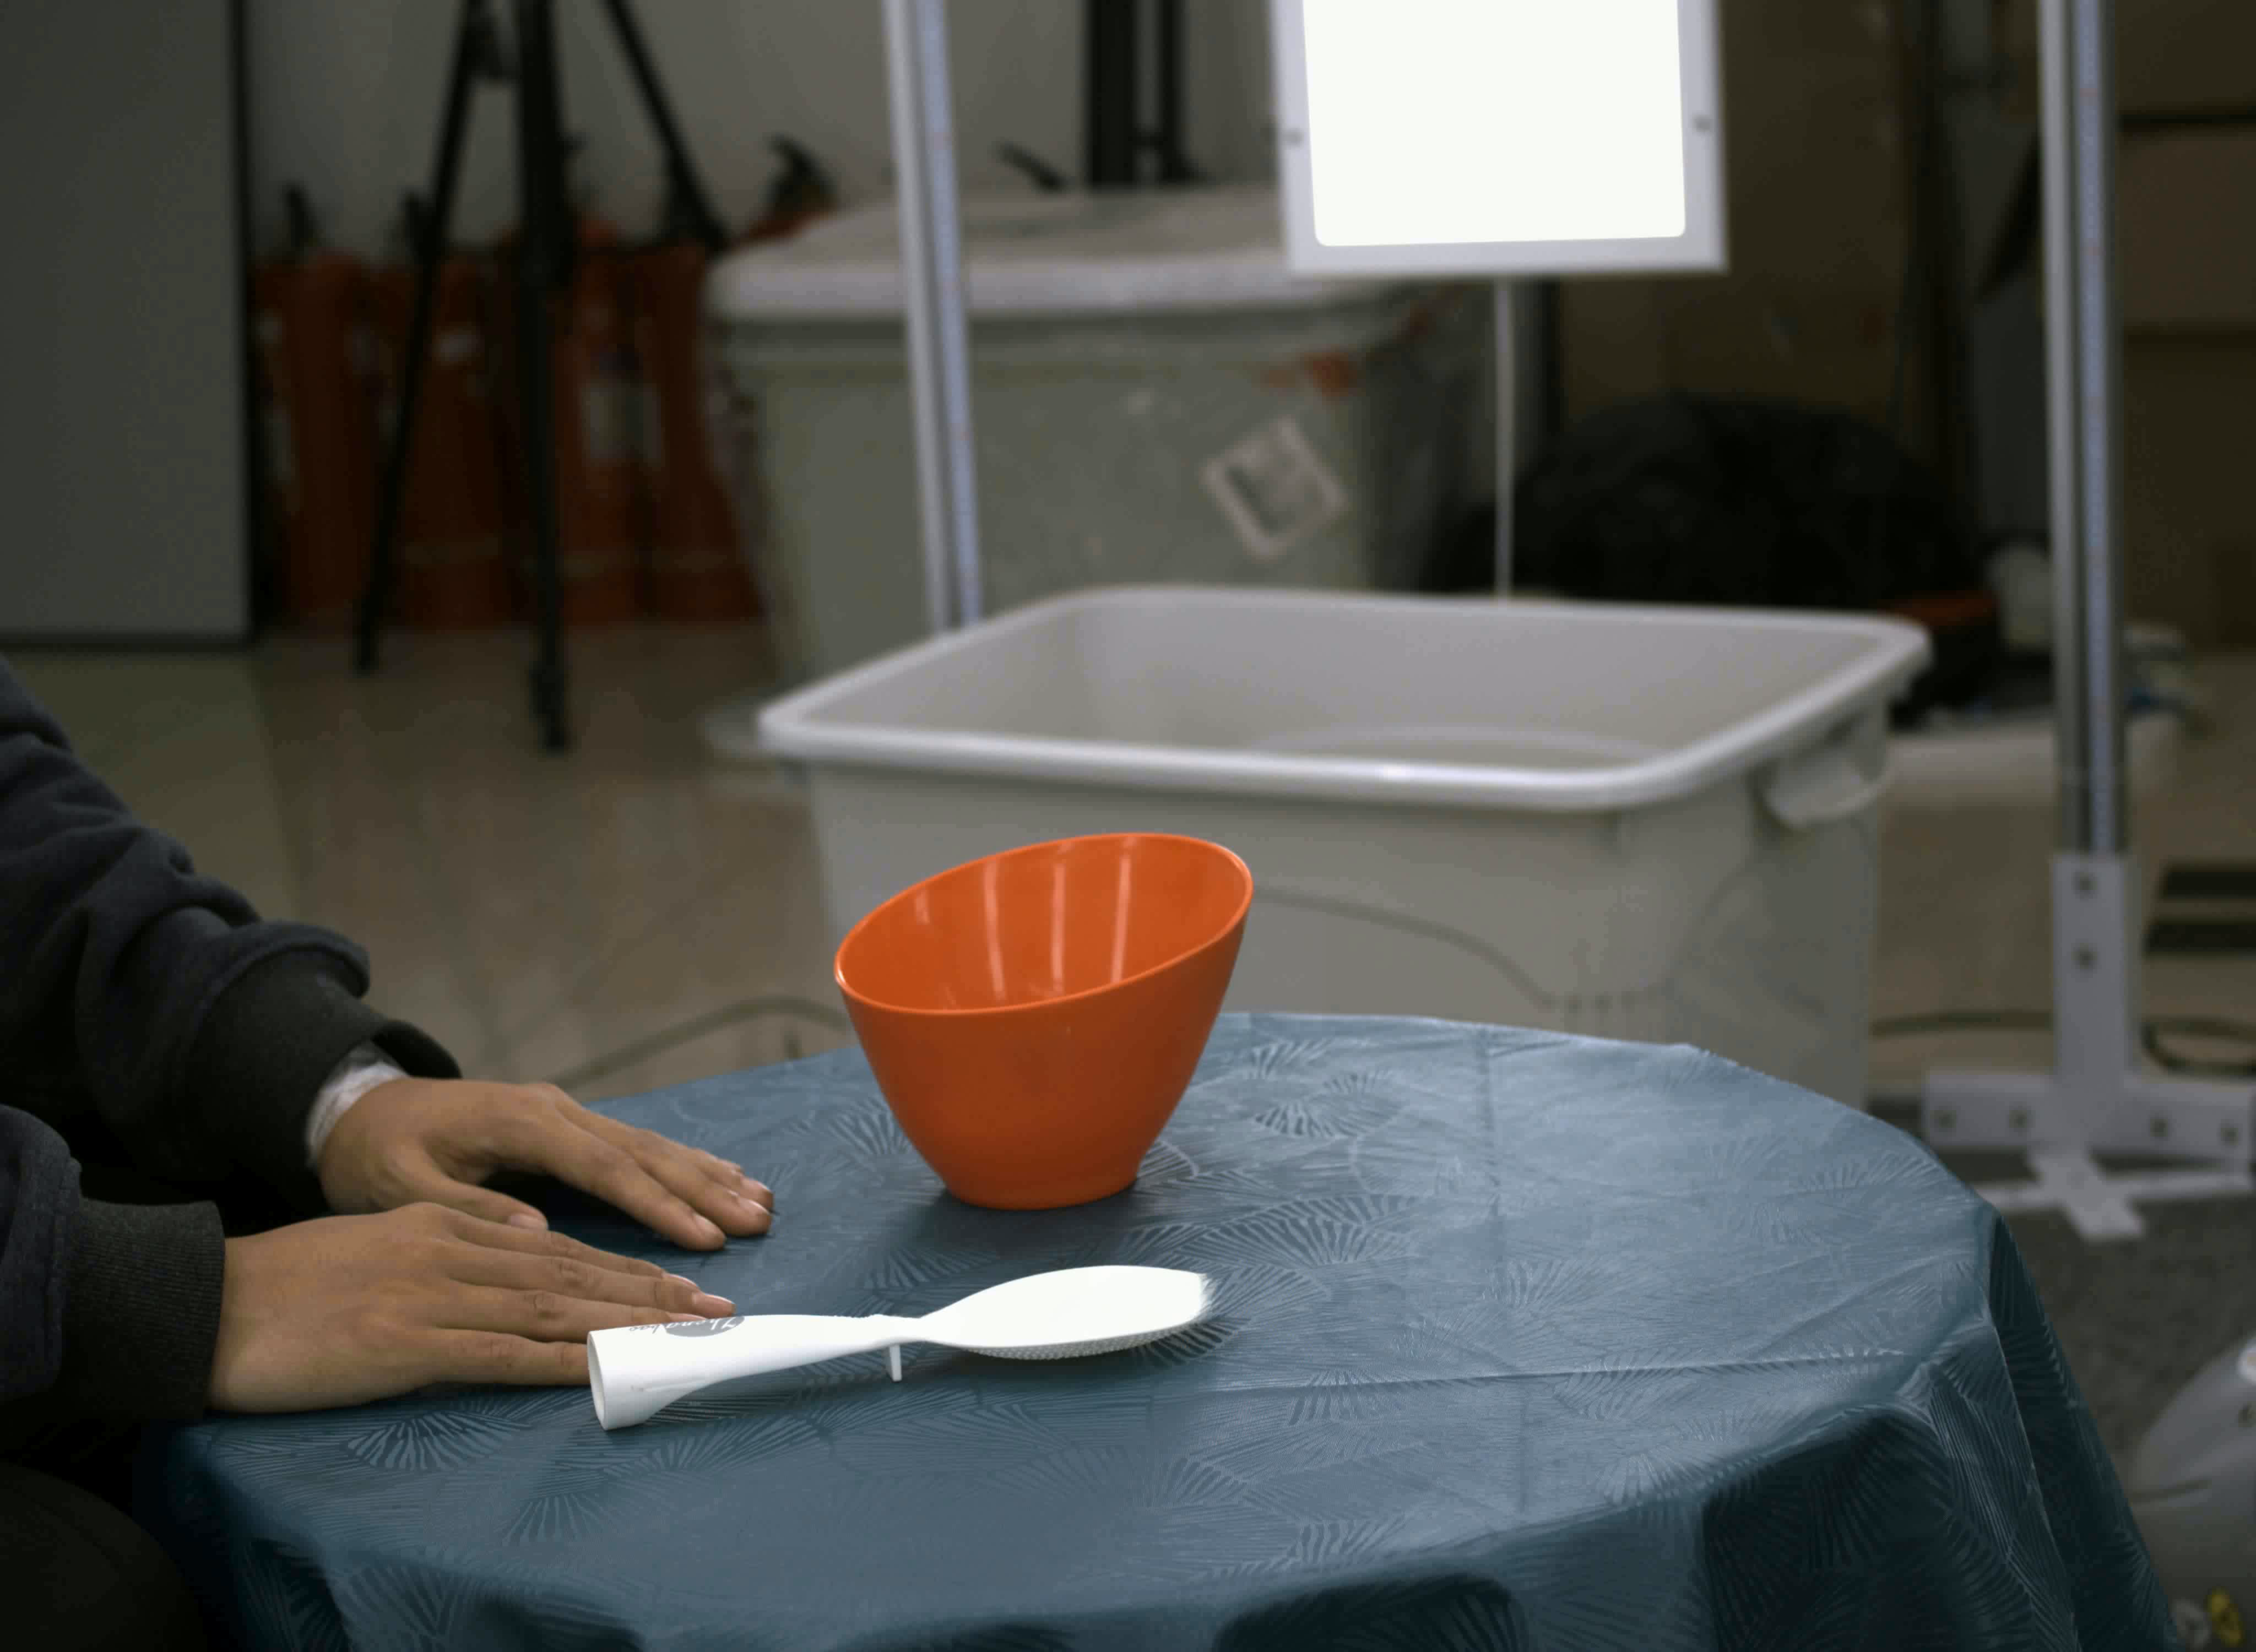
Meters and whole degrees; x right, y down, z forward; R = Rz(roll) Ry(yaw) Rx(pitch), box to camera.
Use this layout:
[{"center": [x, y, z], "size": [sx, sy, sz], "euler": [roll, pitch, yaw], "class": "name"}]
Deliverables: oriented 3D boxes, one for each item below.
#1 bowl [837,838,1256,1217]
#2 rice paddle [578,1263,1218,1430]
[{"center": [-0.025, 0.074, 1.912], "size": [0.147, 0.105, 0.148], "euler": [-6, 15, 0], "class": "bowl"}, {"center": [-0.070, 0.158, 1.731], "size": [0.203, 0.029, 0.069], "euler": [-8, 15, -12], "class": "rice paddle"}]
